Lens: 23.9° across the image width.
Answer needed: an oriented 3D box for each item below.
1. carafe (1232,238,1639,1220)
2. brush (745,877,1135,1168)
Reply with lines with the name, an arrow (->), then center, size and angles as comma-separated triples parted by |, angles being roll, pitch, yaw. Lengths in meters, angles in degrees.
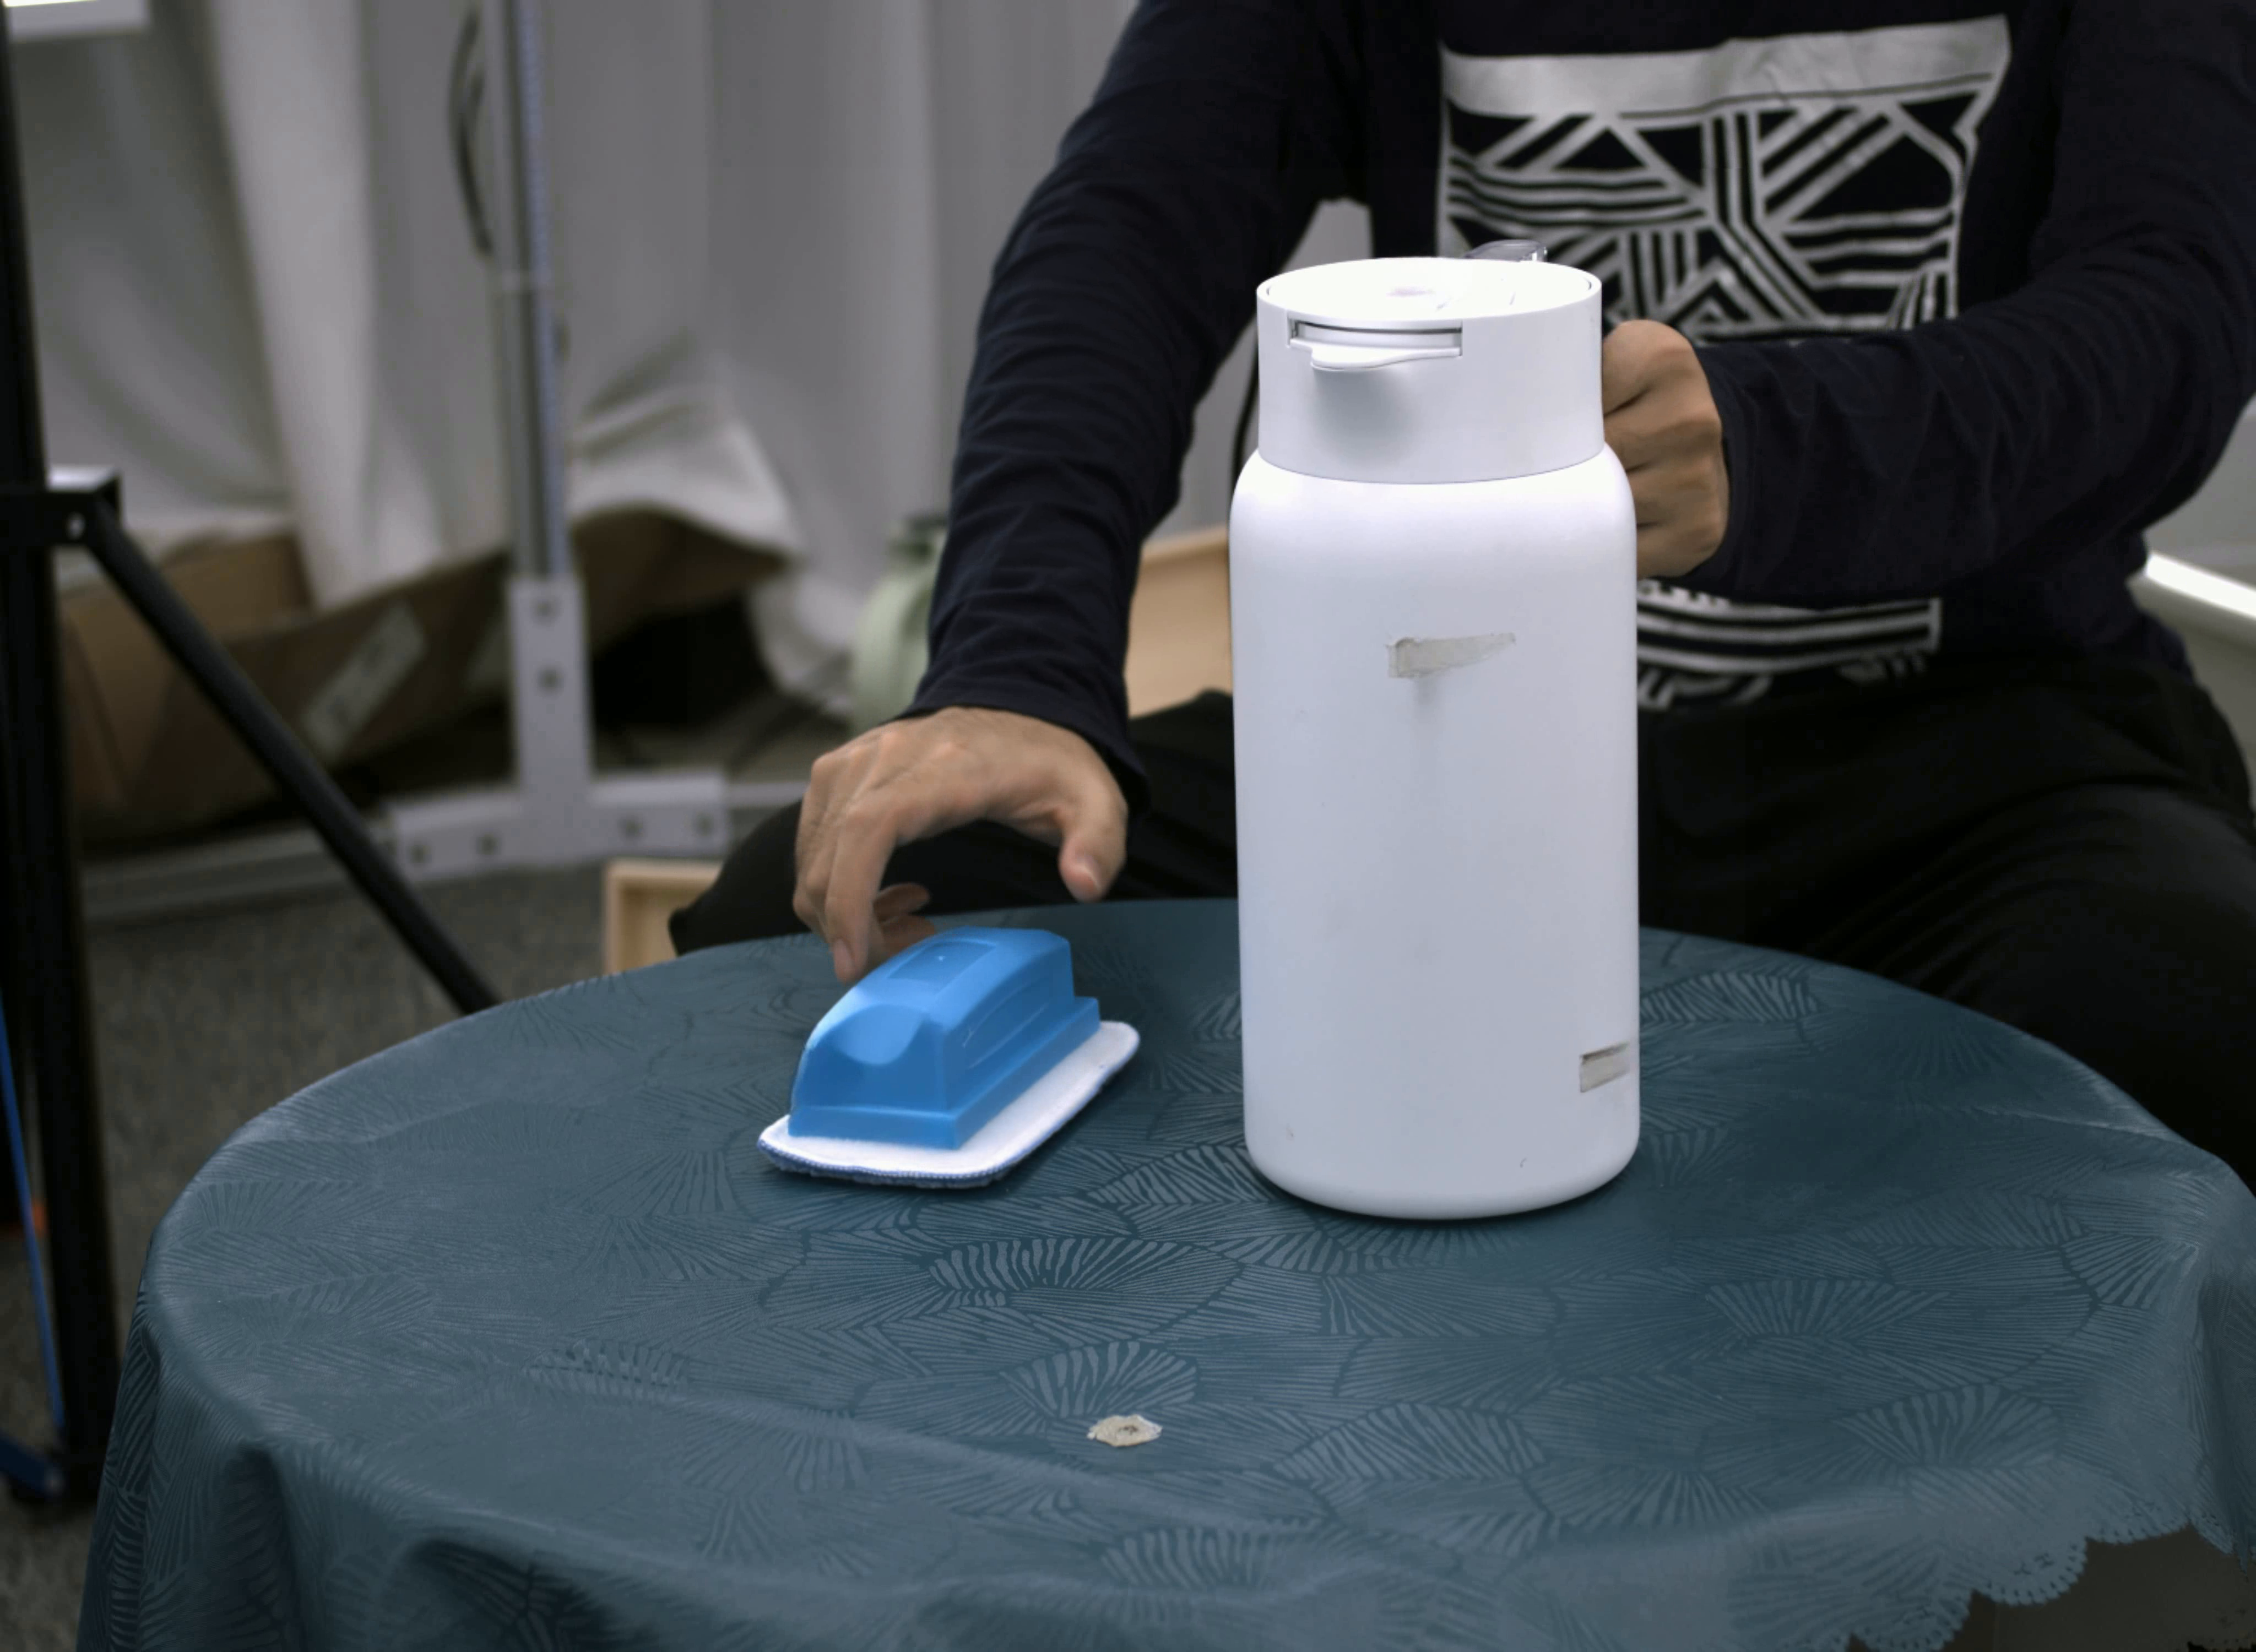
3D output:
carafe -> 0.095, -0.032, 1.553 | 0.125, 0.269, 0.170 | 3, 15, 25
brush -> -0.056, 0.056, 1.634 | 0.085, 0.056, 0.142 | 7, 23, 21
